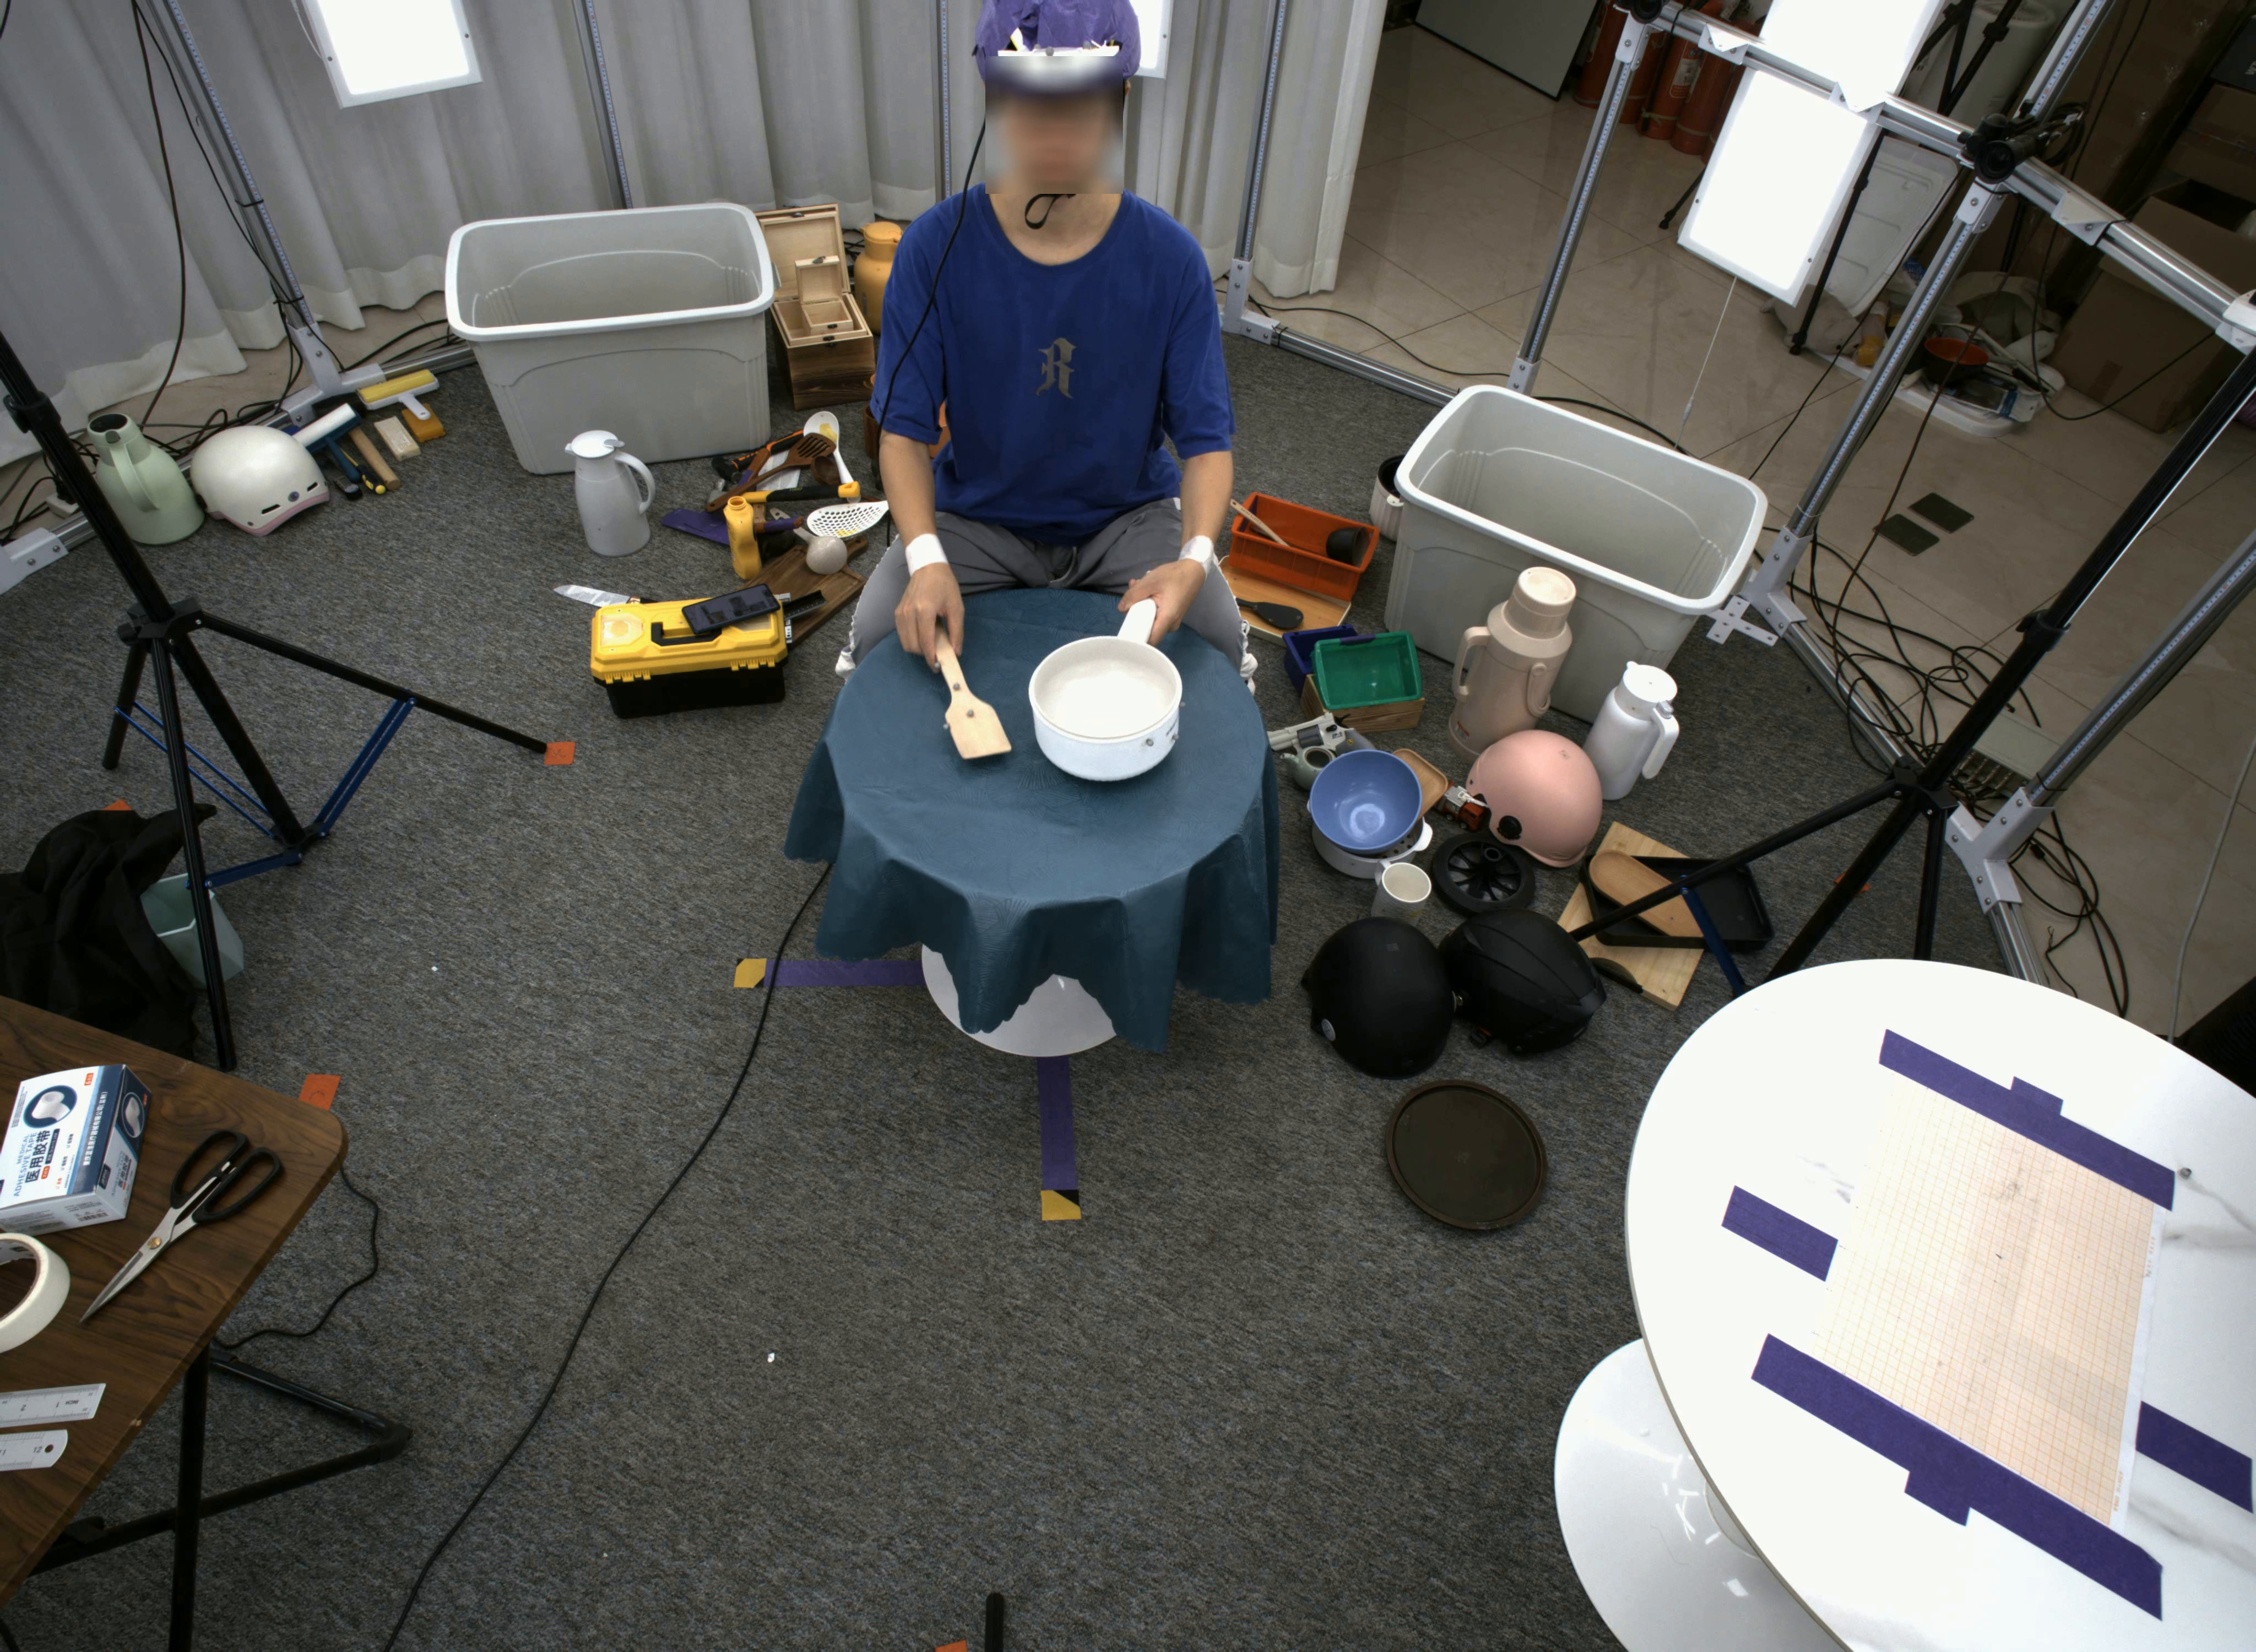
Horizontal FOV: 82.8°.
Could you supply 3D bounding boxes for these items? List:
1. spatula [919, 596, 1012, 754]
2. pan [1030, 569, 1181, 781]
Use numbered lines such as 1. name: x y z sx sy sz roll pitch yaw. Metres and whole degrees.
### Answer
1. spatula: -0.240 -0.216 1.793 0.072 0.010 0.299 -13 57 -19
2. pan: -0.006 -0.210 1.776 0.202 0.099 0.362 10 49 14
